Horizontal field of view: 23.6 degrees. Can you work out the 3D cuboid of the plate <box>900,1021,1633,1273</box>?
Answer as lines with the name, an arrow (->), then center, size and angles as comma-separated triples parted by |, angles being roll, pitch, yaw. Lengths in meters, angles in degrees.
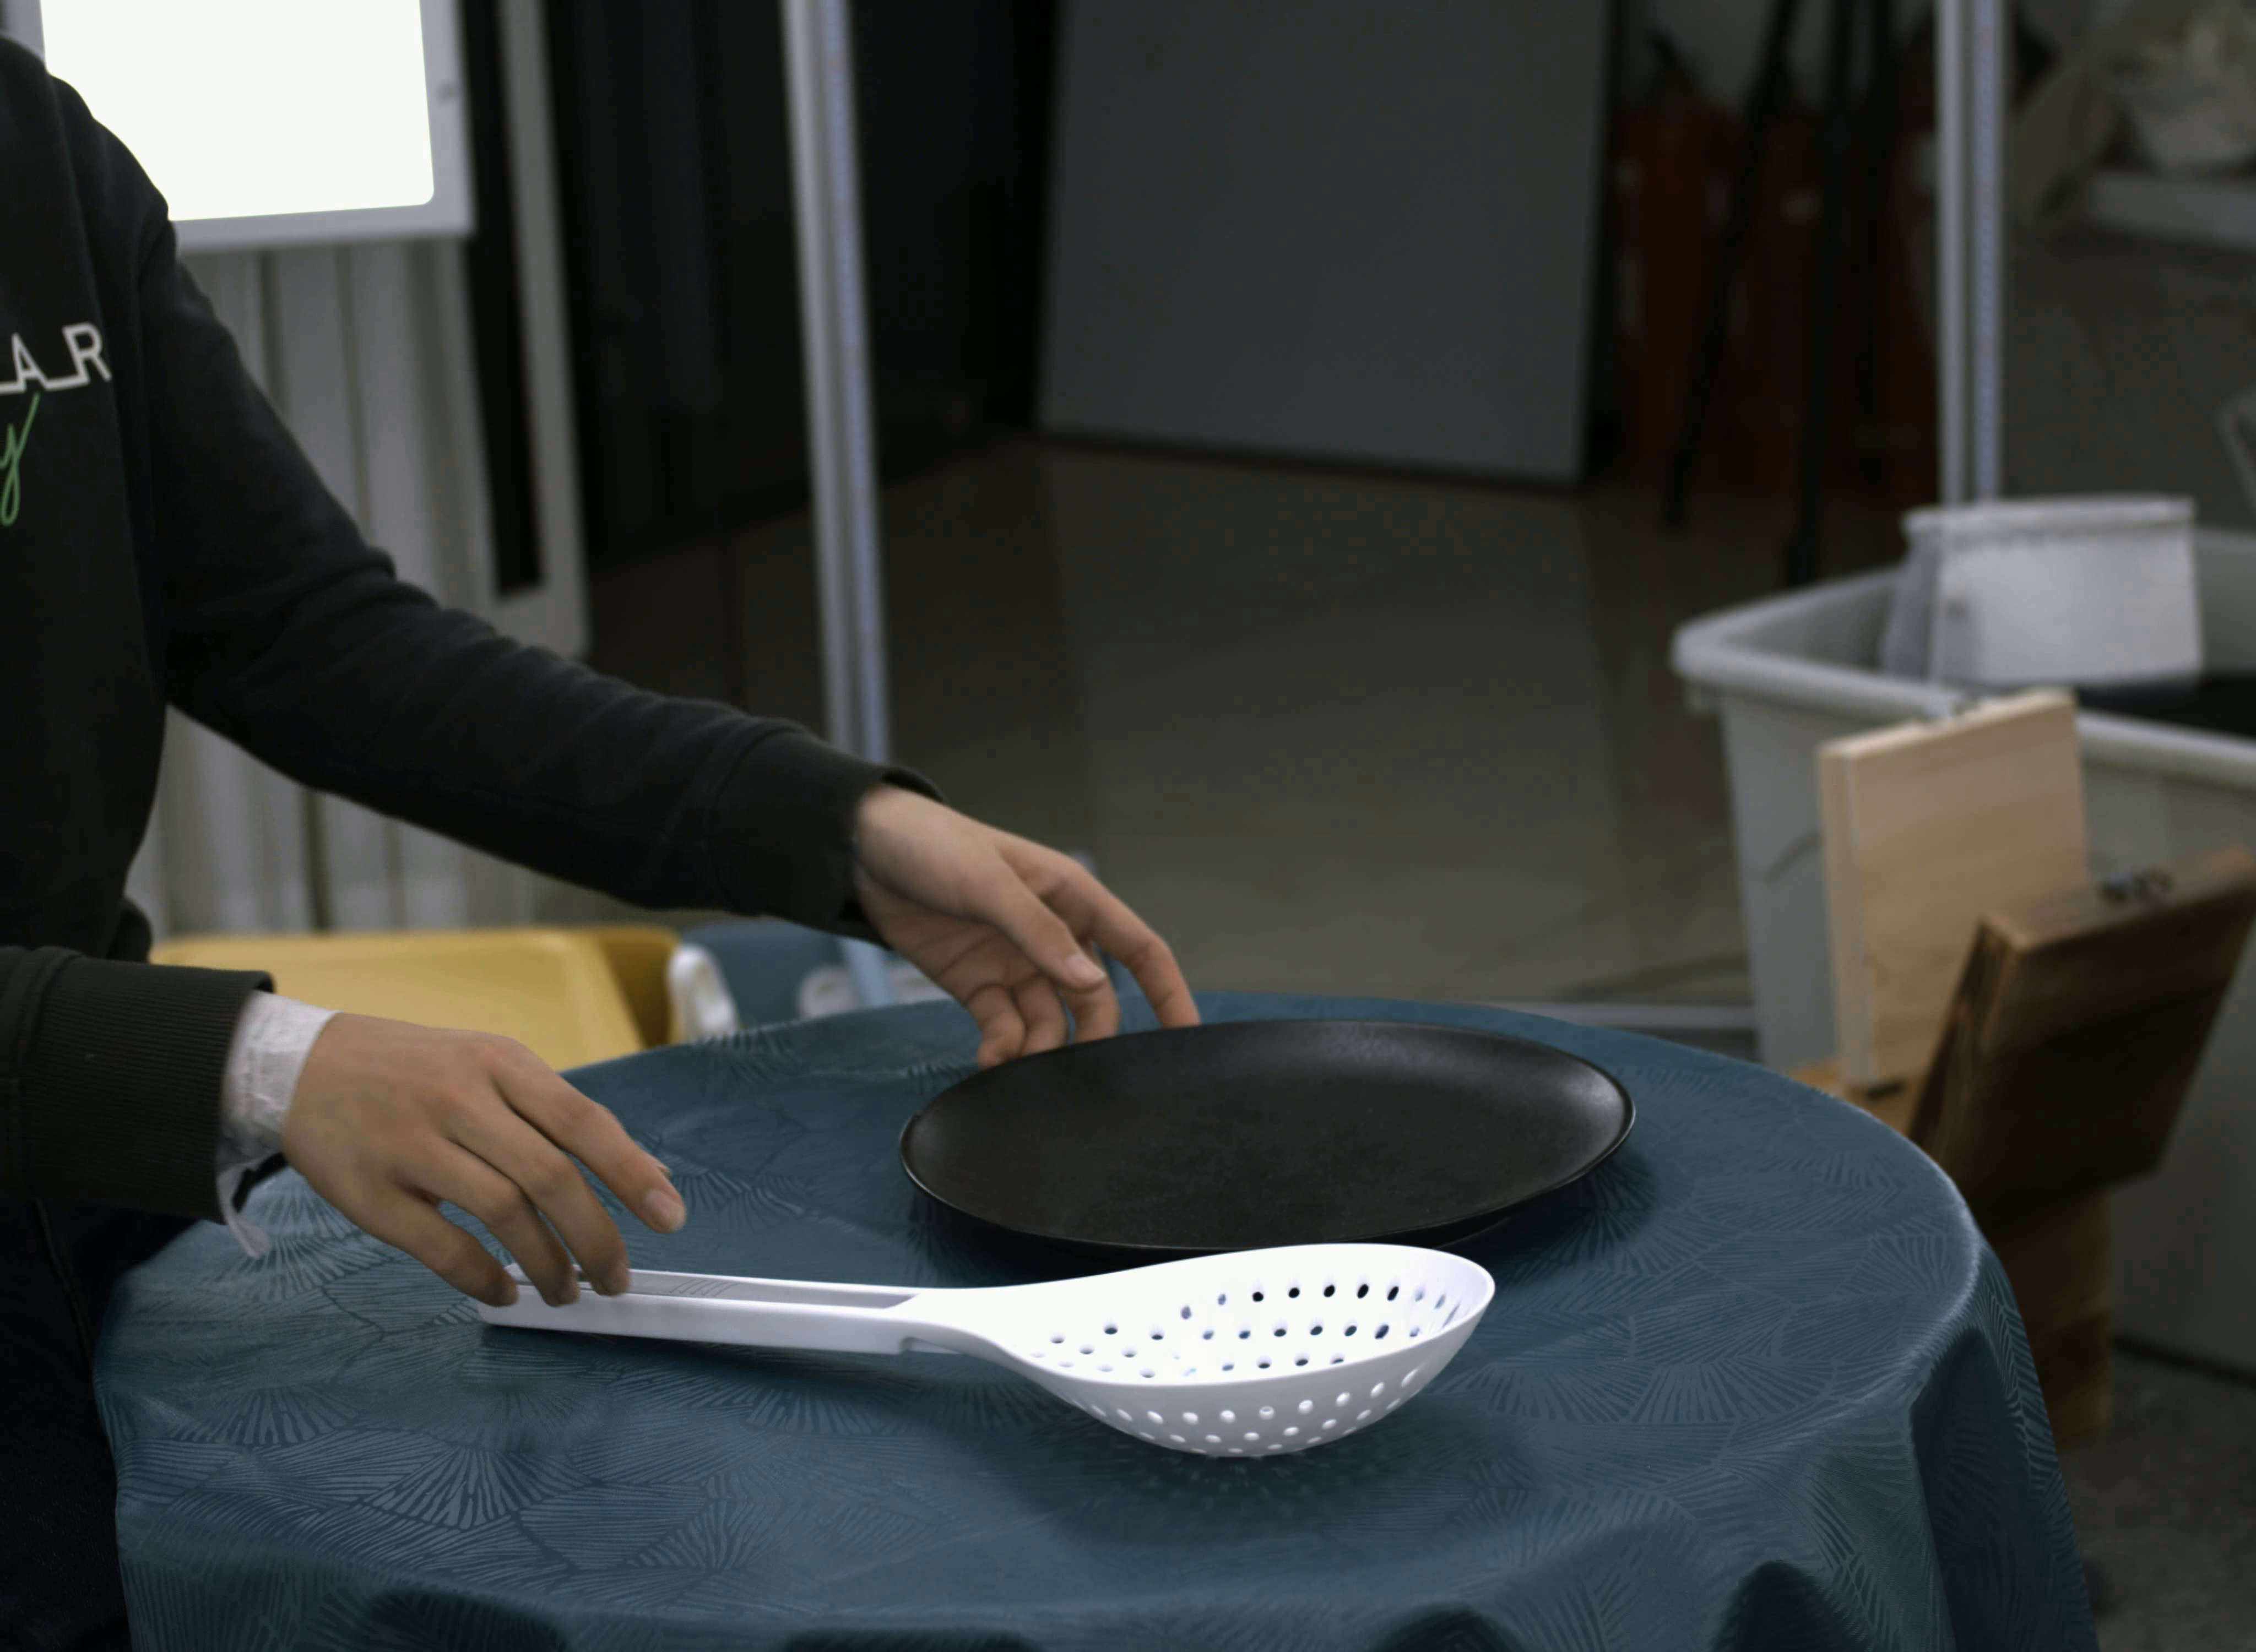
plate -> 0.046, 0.108, 1.763 | 0.241, 0.024, 0.245 | -4, 14, 0

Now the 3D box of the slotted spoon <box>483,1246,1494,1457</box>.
slotted spoon -> -0.051, 0.146, 1.590 | 0.351, 0.046, 0.134 | 4, 14, 34
